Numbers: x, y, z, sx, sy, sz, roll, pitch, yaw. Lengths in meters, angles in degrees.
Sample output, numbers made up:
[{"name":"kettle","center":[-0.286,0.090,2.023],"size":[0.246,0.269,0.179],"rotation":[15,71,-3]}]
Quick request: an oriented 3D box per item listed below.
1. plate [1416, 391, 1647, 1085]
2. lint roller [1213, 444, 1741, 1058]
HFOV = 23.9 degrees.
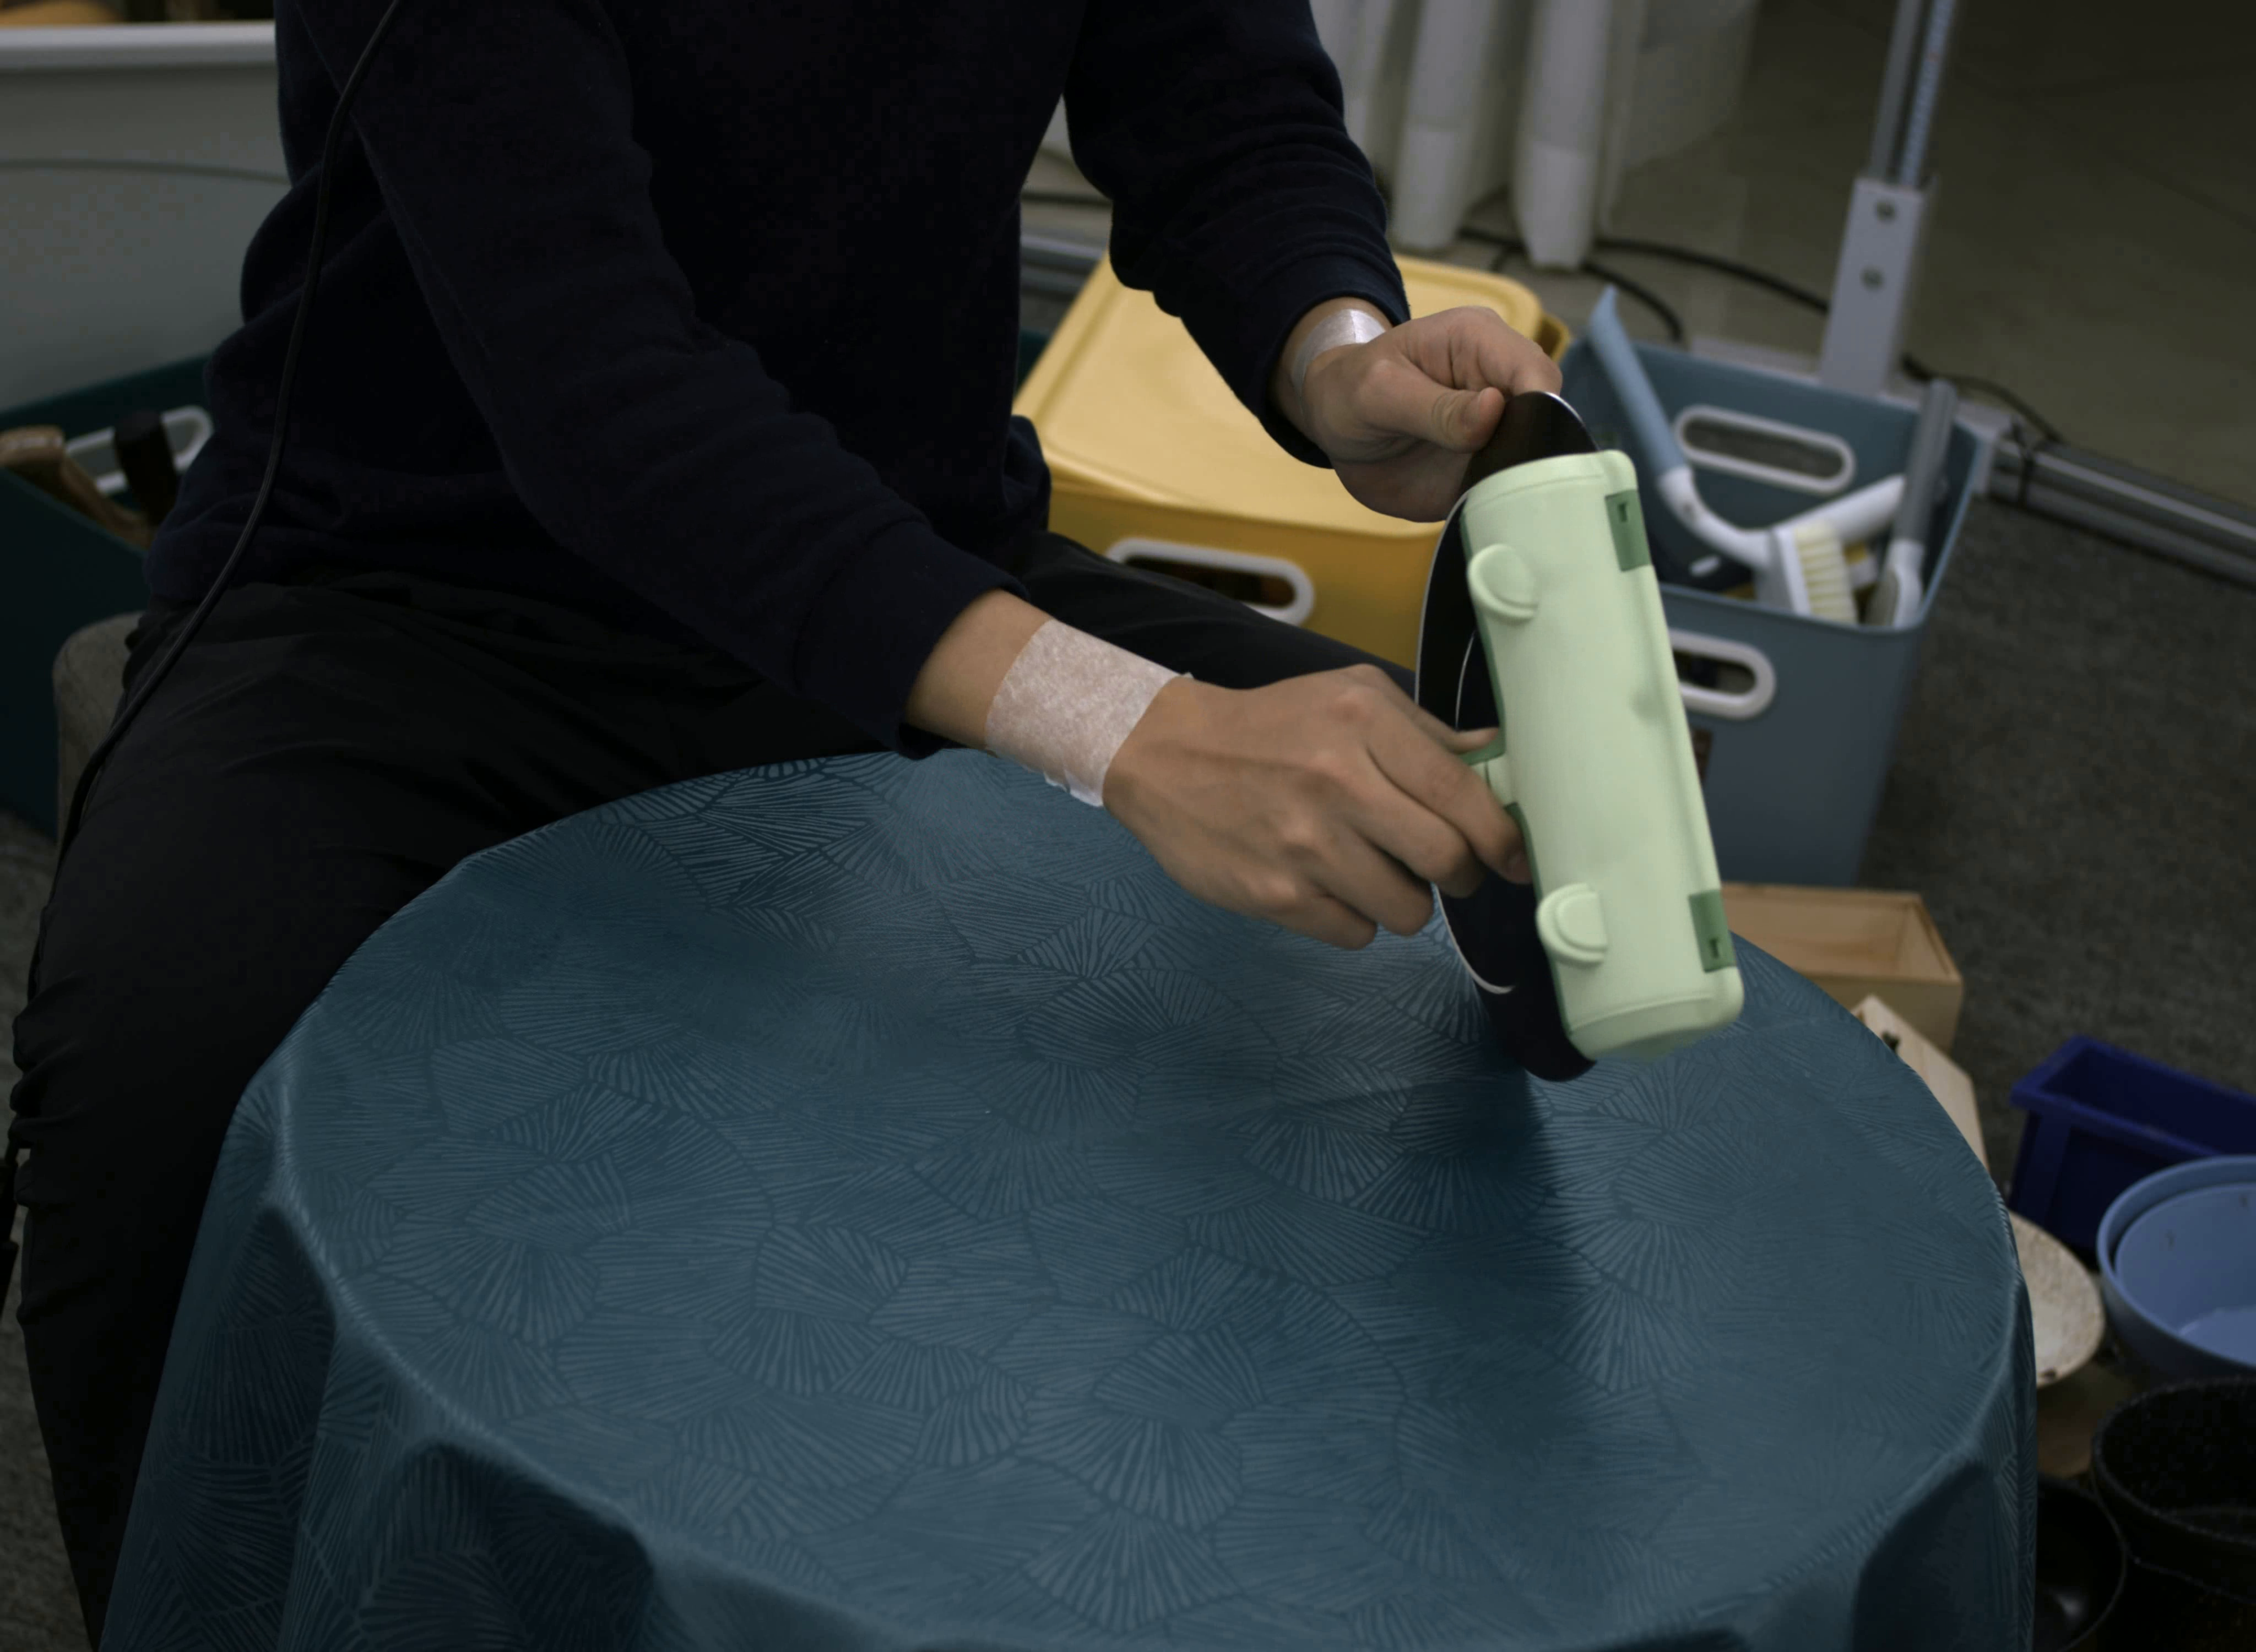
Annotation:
[{"name":"plate","center":[0.137,-0.030,1.867],"size":[0.023,0.243,0.246],"rotation":[-2,28,-13]},{"name":"lint roller","center":[0.098,-0.011,1.753],"size":[0.183,0.200,0.081],"rotation":[-17,-15,22]}]
